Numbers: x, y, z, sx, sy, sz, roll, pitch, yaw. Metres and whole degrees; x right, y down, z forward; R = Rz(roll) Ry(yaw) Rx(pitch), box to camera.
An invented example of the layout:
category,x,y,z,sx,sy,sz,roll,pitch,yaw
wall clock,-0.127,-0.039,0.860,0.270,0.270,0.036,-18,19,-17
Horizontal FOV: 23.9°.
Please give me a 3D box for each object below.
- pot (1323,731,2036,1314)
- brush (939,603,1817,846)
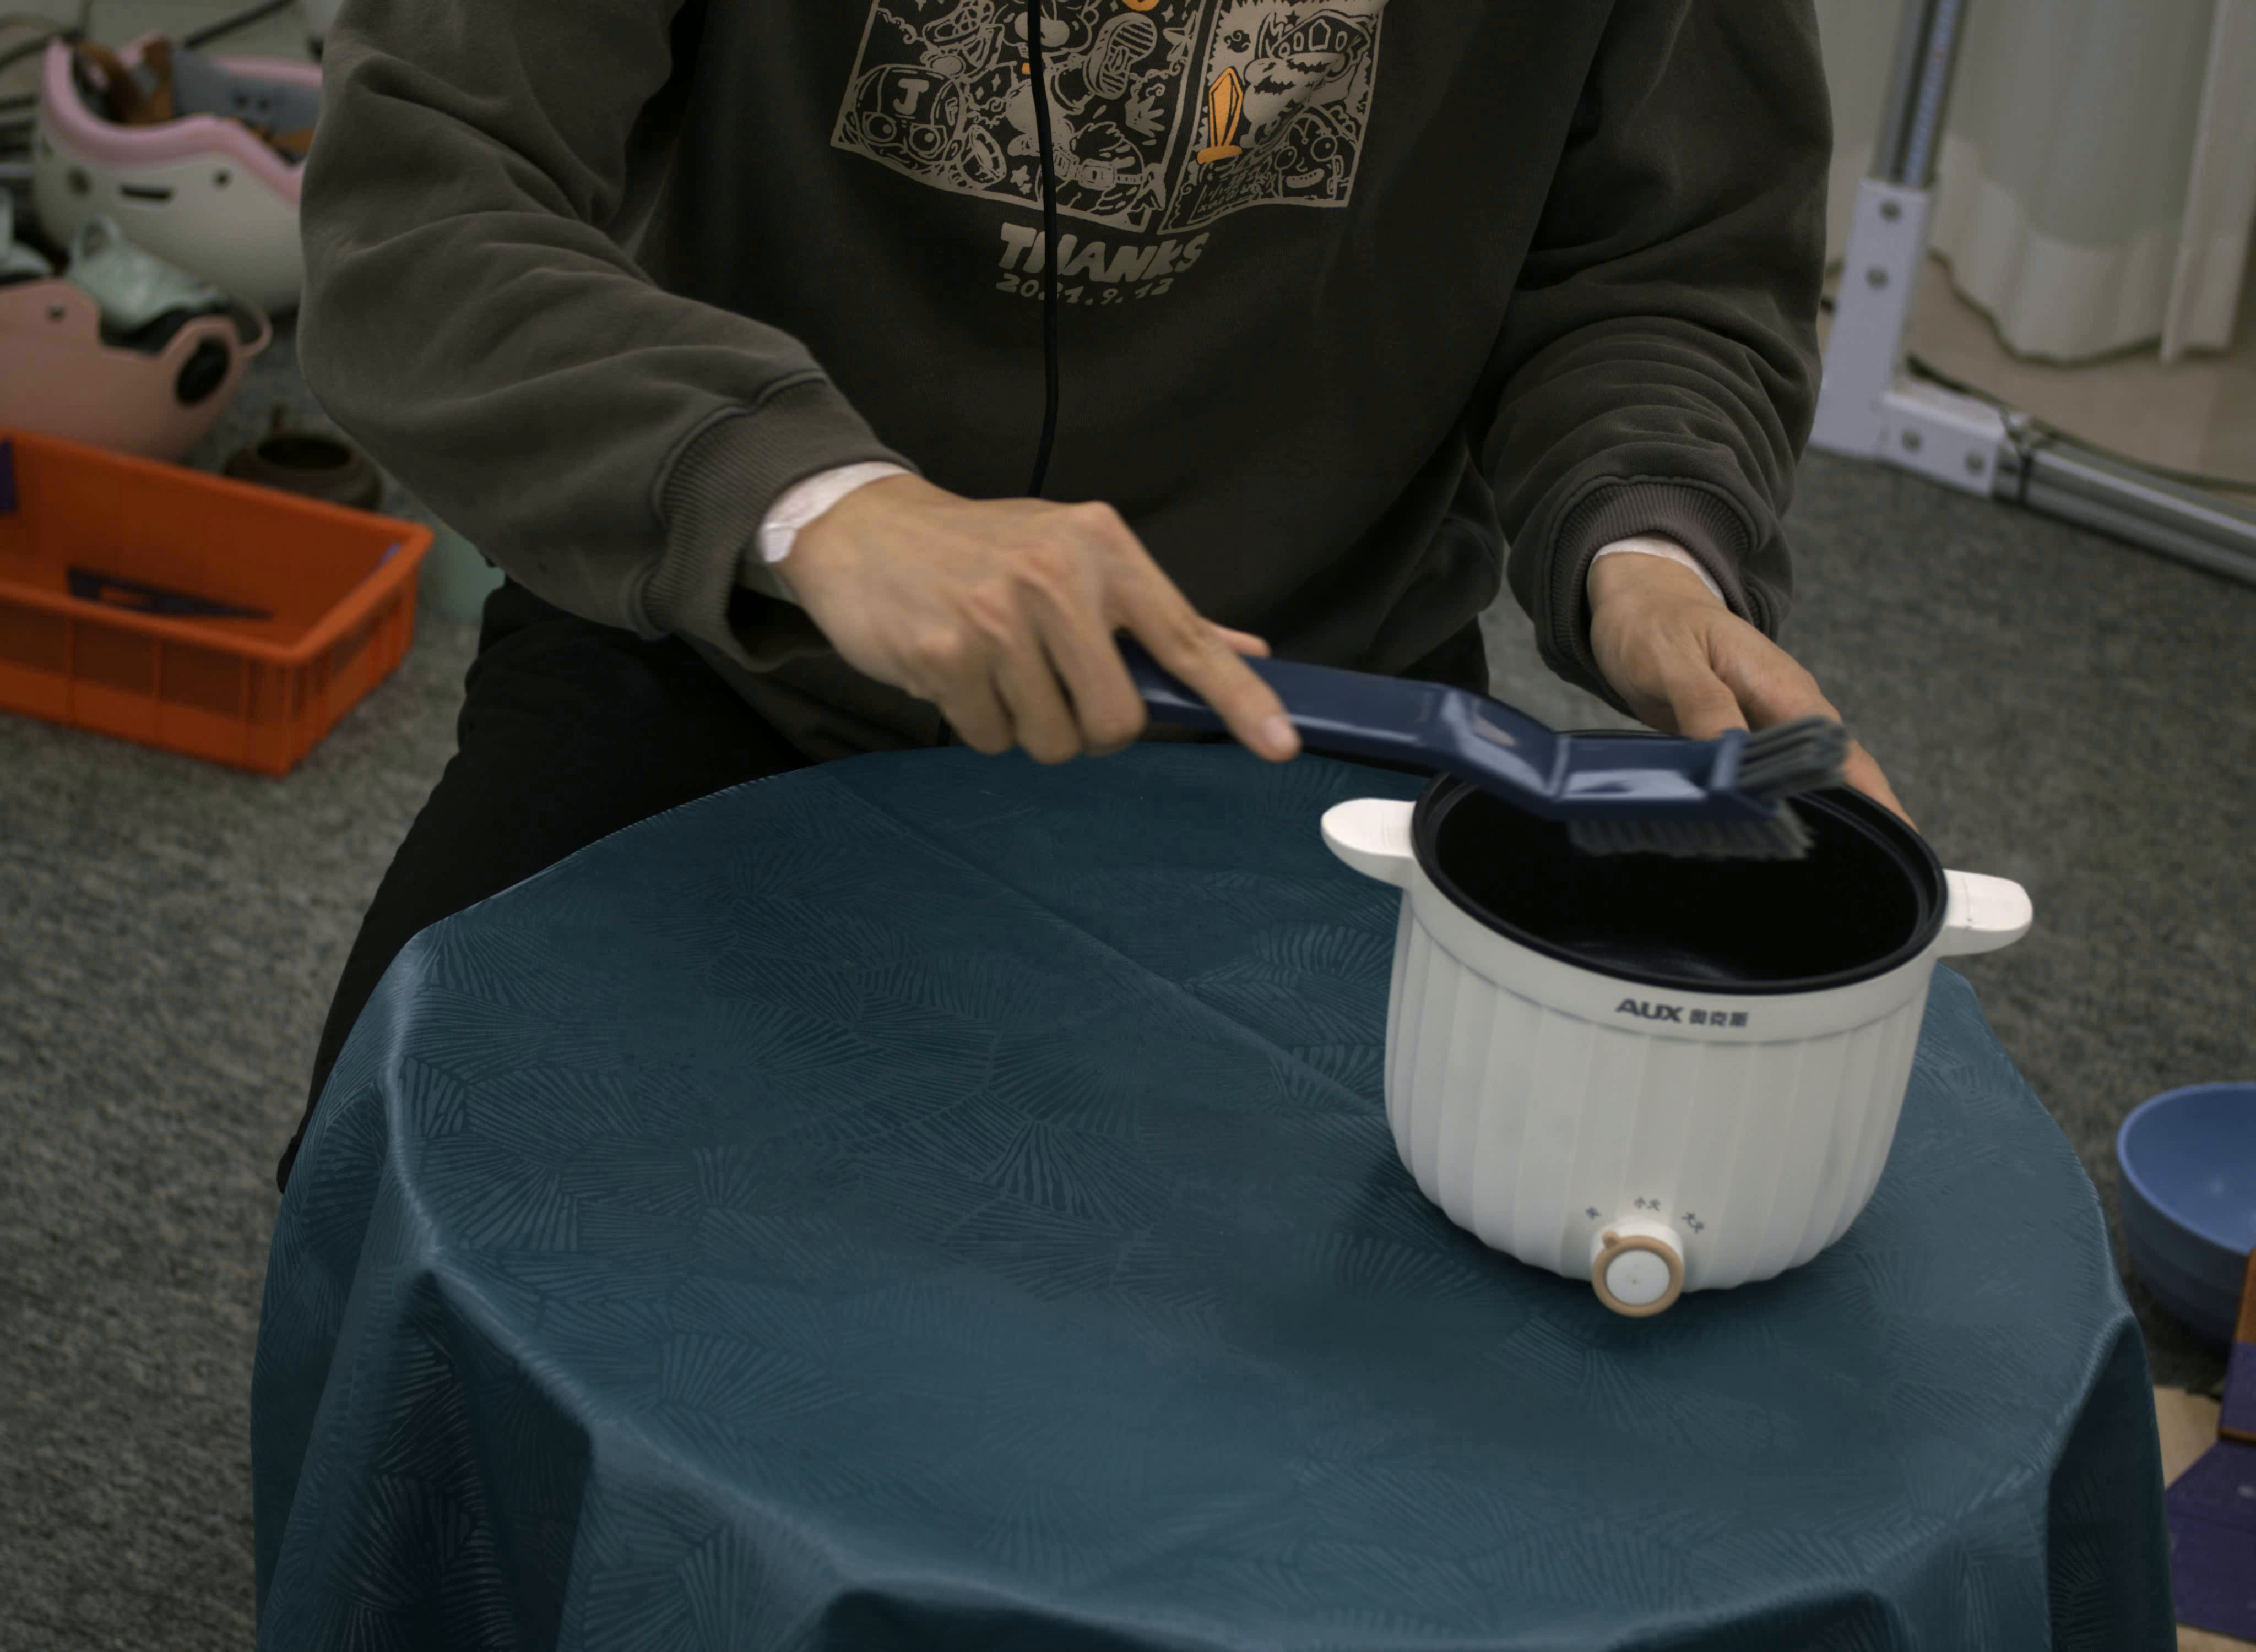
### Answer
category,x,y,z,sx,sy,sz,roll,pitch,yaw
pot,0.178,0.070,1.797,0.240,0.142,0.191,6,23,1
brush,0.074,-0.039,1.652,0.273,0.095,0.034,14,62,7
